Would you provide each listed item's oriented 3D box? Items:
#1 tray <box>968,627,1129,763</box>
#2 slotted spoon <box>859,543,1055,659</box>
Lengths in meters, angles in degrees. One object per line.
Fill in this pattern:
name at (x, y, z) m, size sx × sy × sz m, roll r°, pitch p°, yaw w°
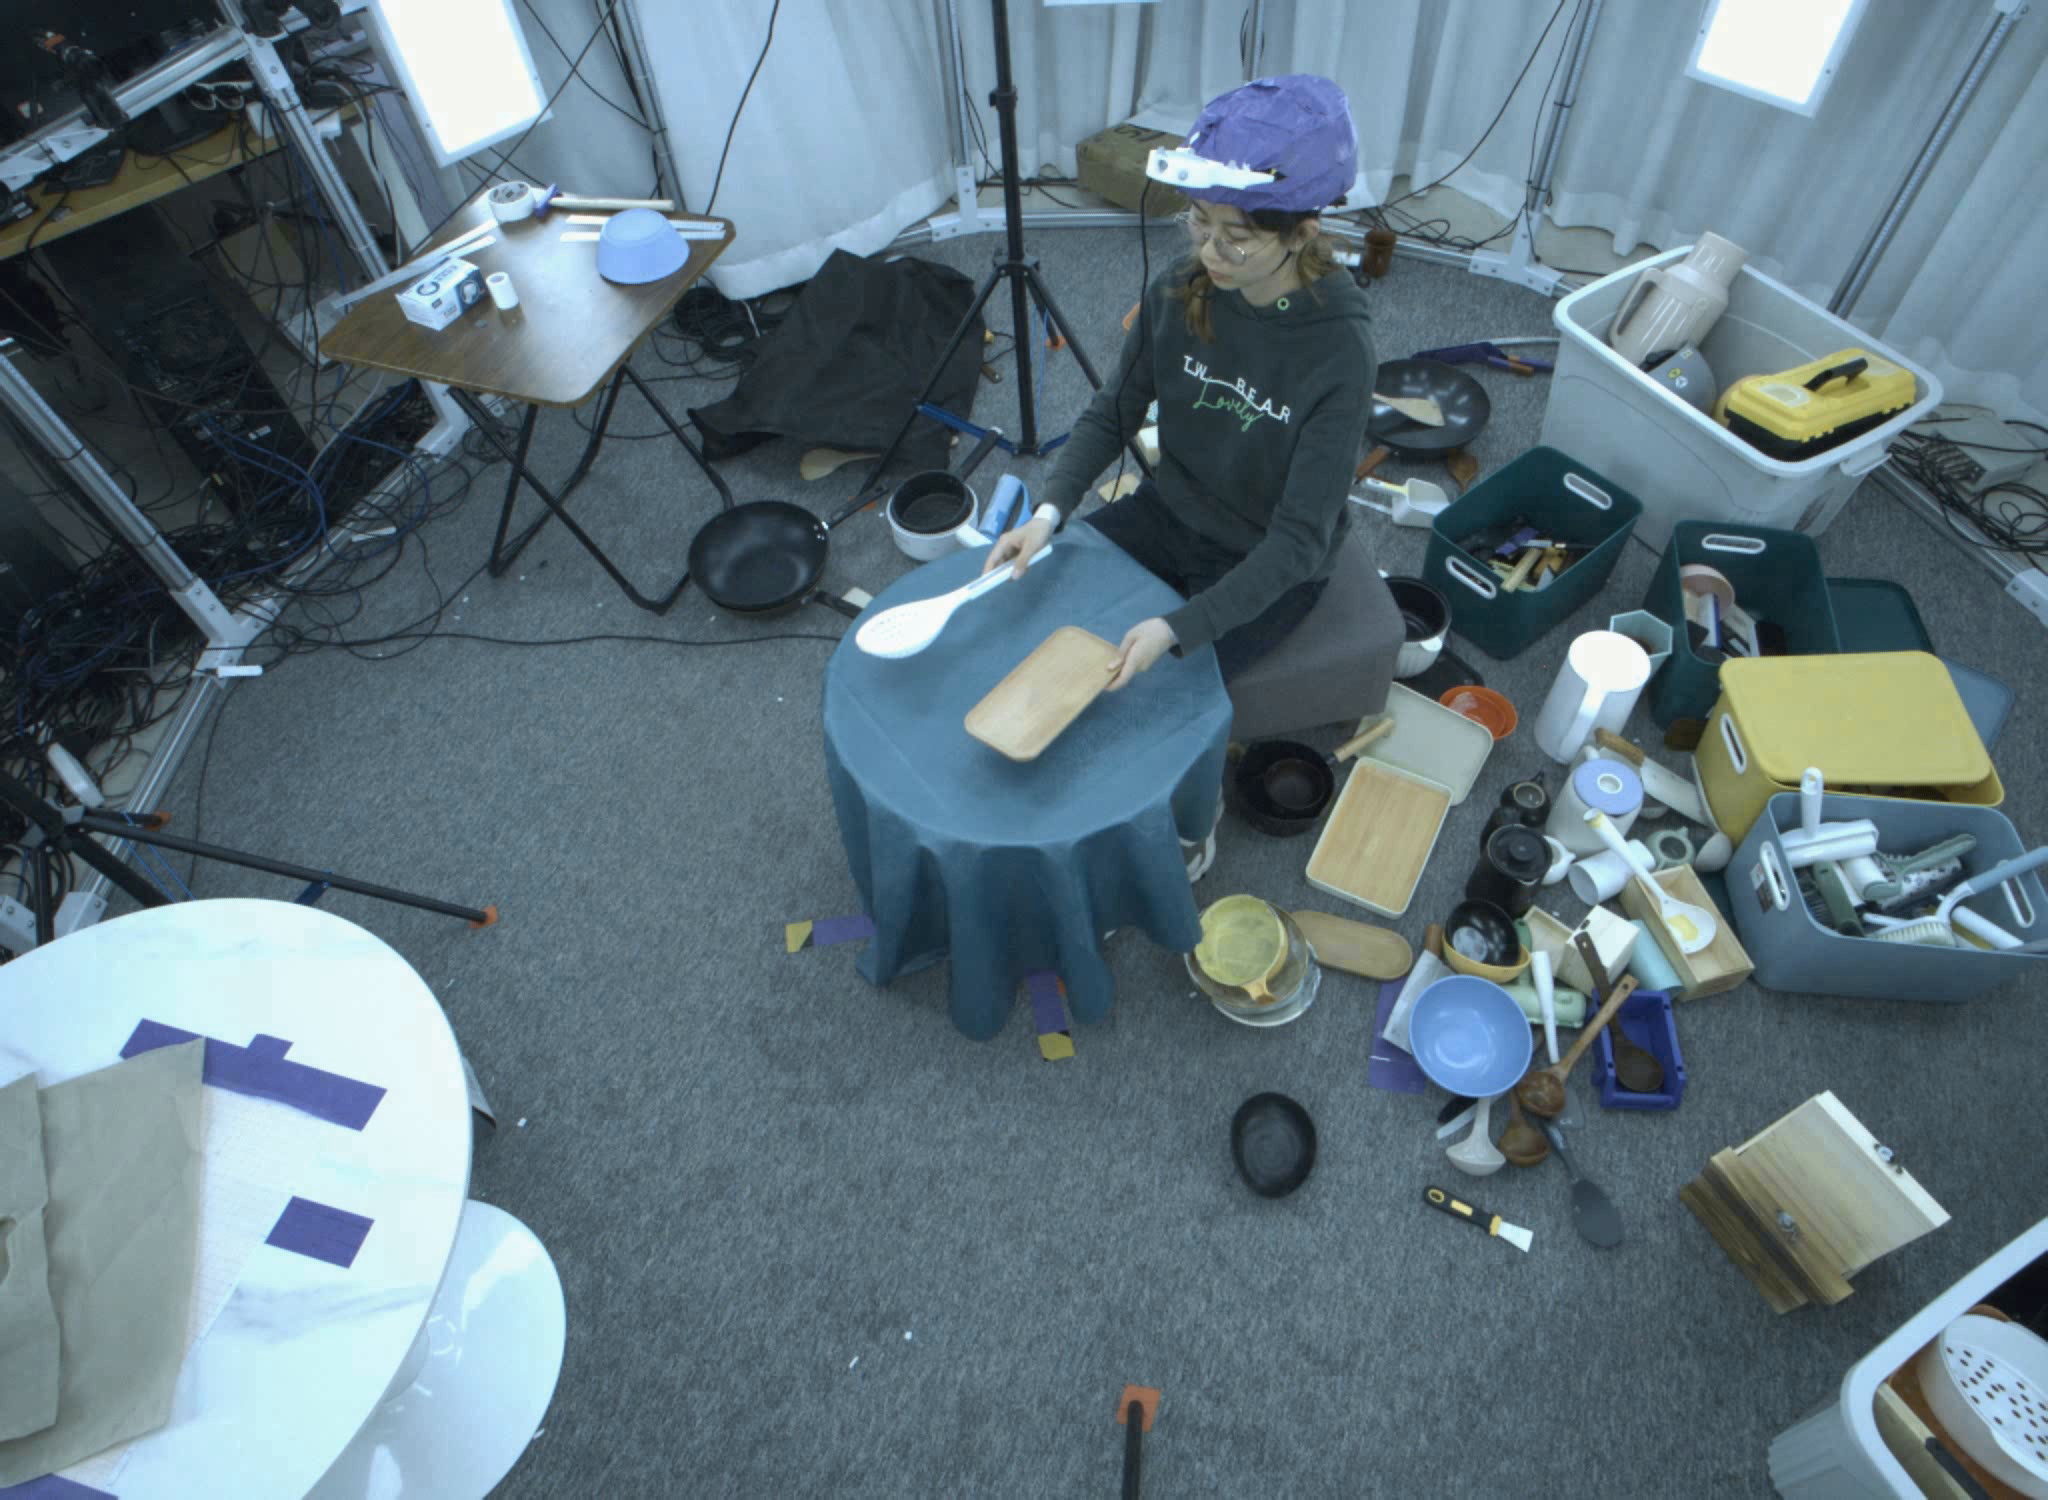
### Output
tray at (0.037, -0.080, 1.762) m, size 0.128 × 0.023 × 0.252 m, roll 32°, pitch 59°, yaw 24°
slotted spoon at (-0.094, -0.230, 1.856) m, size 0.352 × 0.046 × 0.133 m, roll -37°, pitch 41°, yaw -21°
